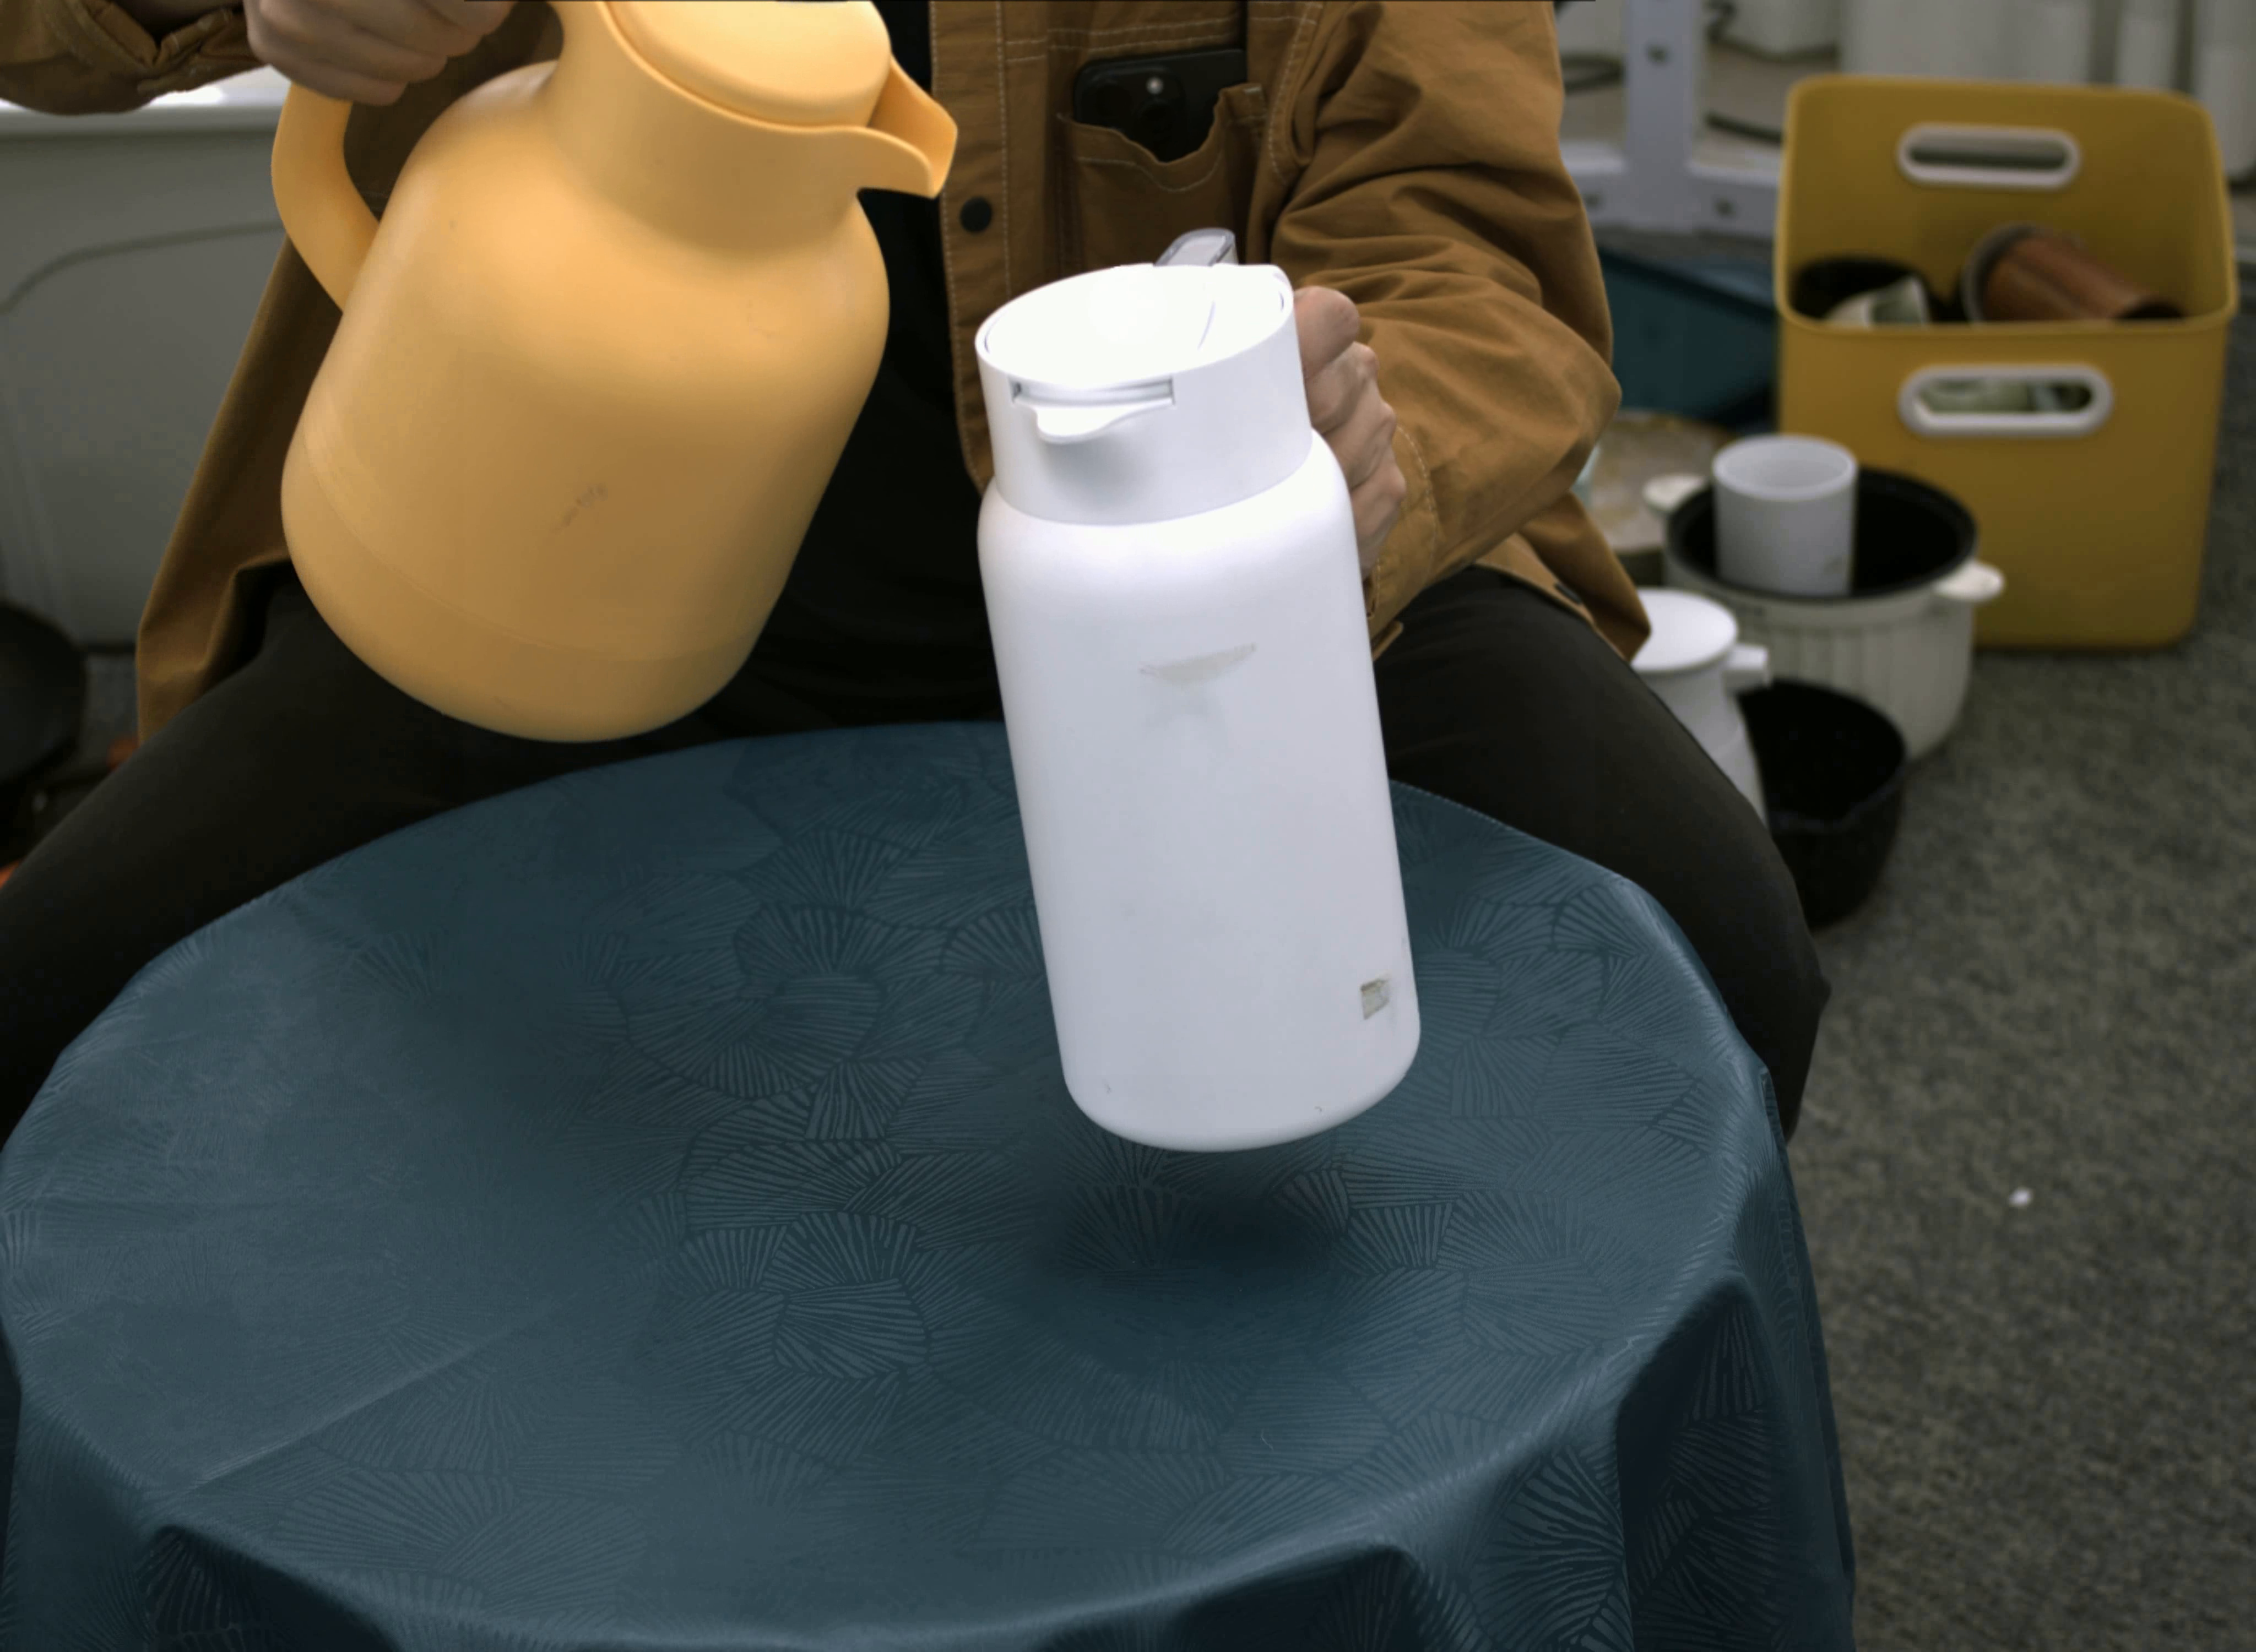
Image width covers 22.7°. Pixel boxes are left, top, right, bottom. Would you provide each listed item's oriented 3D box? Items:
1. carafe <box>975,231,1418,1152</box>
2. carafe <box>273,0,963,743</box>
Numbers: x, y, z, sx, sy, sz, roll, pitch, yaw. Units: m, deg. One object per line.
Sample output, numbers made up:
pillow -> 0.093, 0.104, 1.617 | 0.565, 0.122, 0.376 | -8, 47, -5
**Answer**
carafe -> 0.024, -0.046, 1.783 | 0.123, 0.266, 0.176 | -1, 25, 21
carafe -> -0.174, -0.172, 1.763 | 0.202, 0.256, 0.166 | 31, 33, 2
